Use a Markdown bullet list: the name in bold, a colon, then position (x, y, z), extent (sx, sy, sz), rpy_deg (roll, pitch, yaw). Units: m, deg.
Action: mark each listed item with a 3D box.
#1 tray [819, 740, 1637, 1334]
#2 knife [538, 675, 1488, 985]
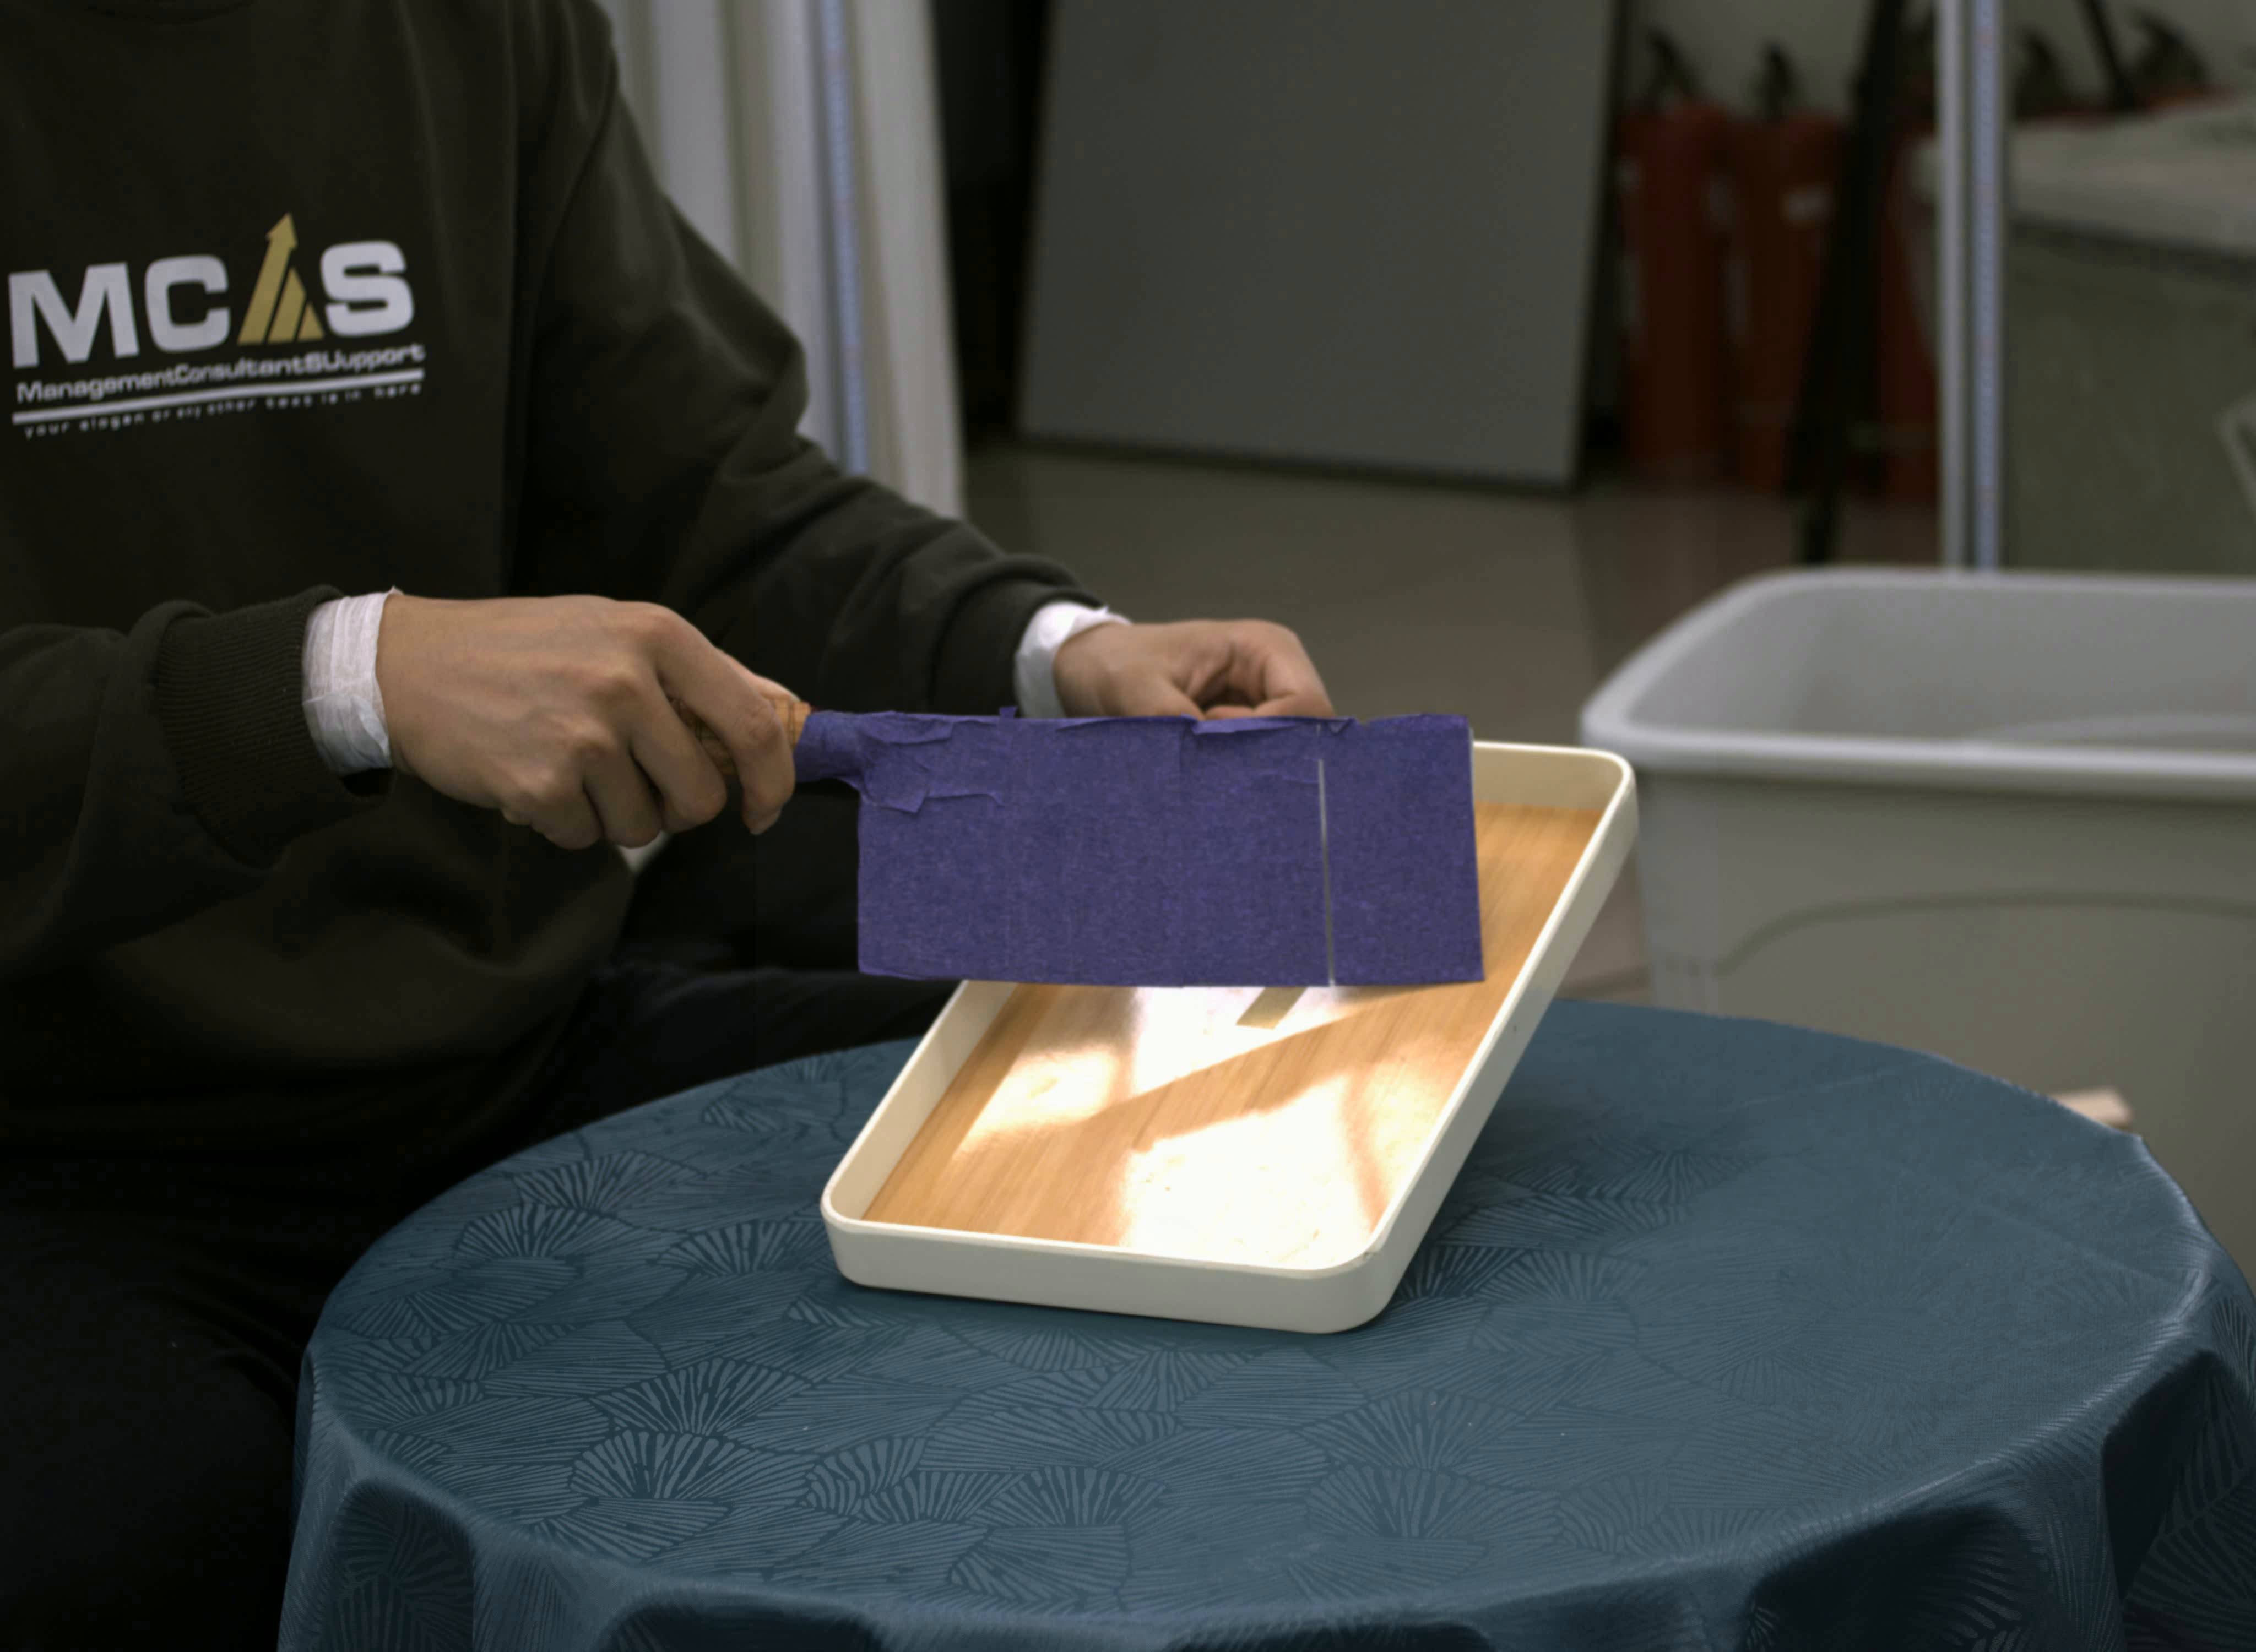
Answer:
- **tray**: position (0.039, 0.060, 1.763), extent (0.192, 0.027, 0.298), rpy_deg (3, 34, 25)
- **knife**: position (-0.037, 0.003, 1.765), extent (0.311, 0.105, 0.032), rpy_deg (-1, -15, -1)
